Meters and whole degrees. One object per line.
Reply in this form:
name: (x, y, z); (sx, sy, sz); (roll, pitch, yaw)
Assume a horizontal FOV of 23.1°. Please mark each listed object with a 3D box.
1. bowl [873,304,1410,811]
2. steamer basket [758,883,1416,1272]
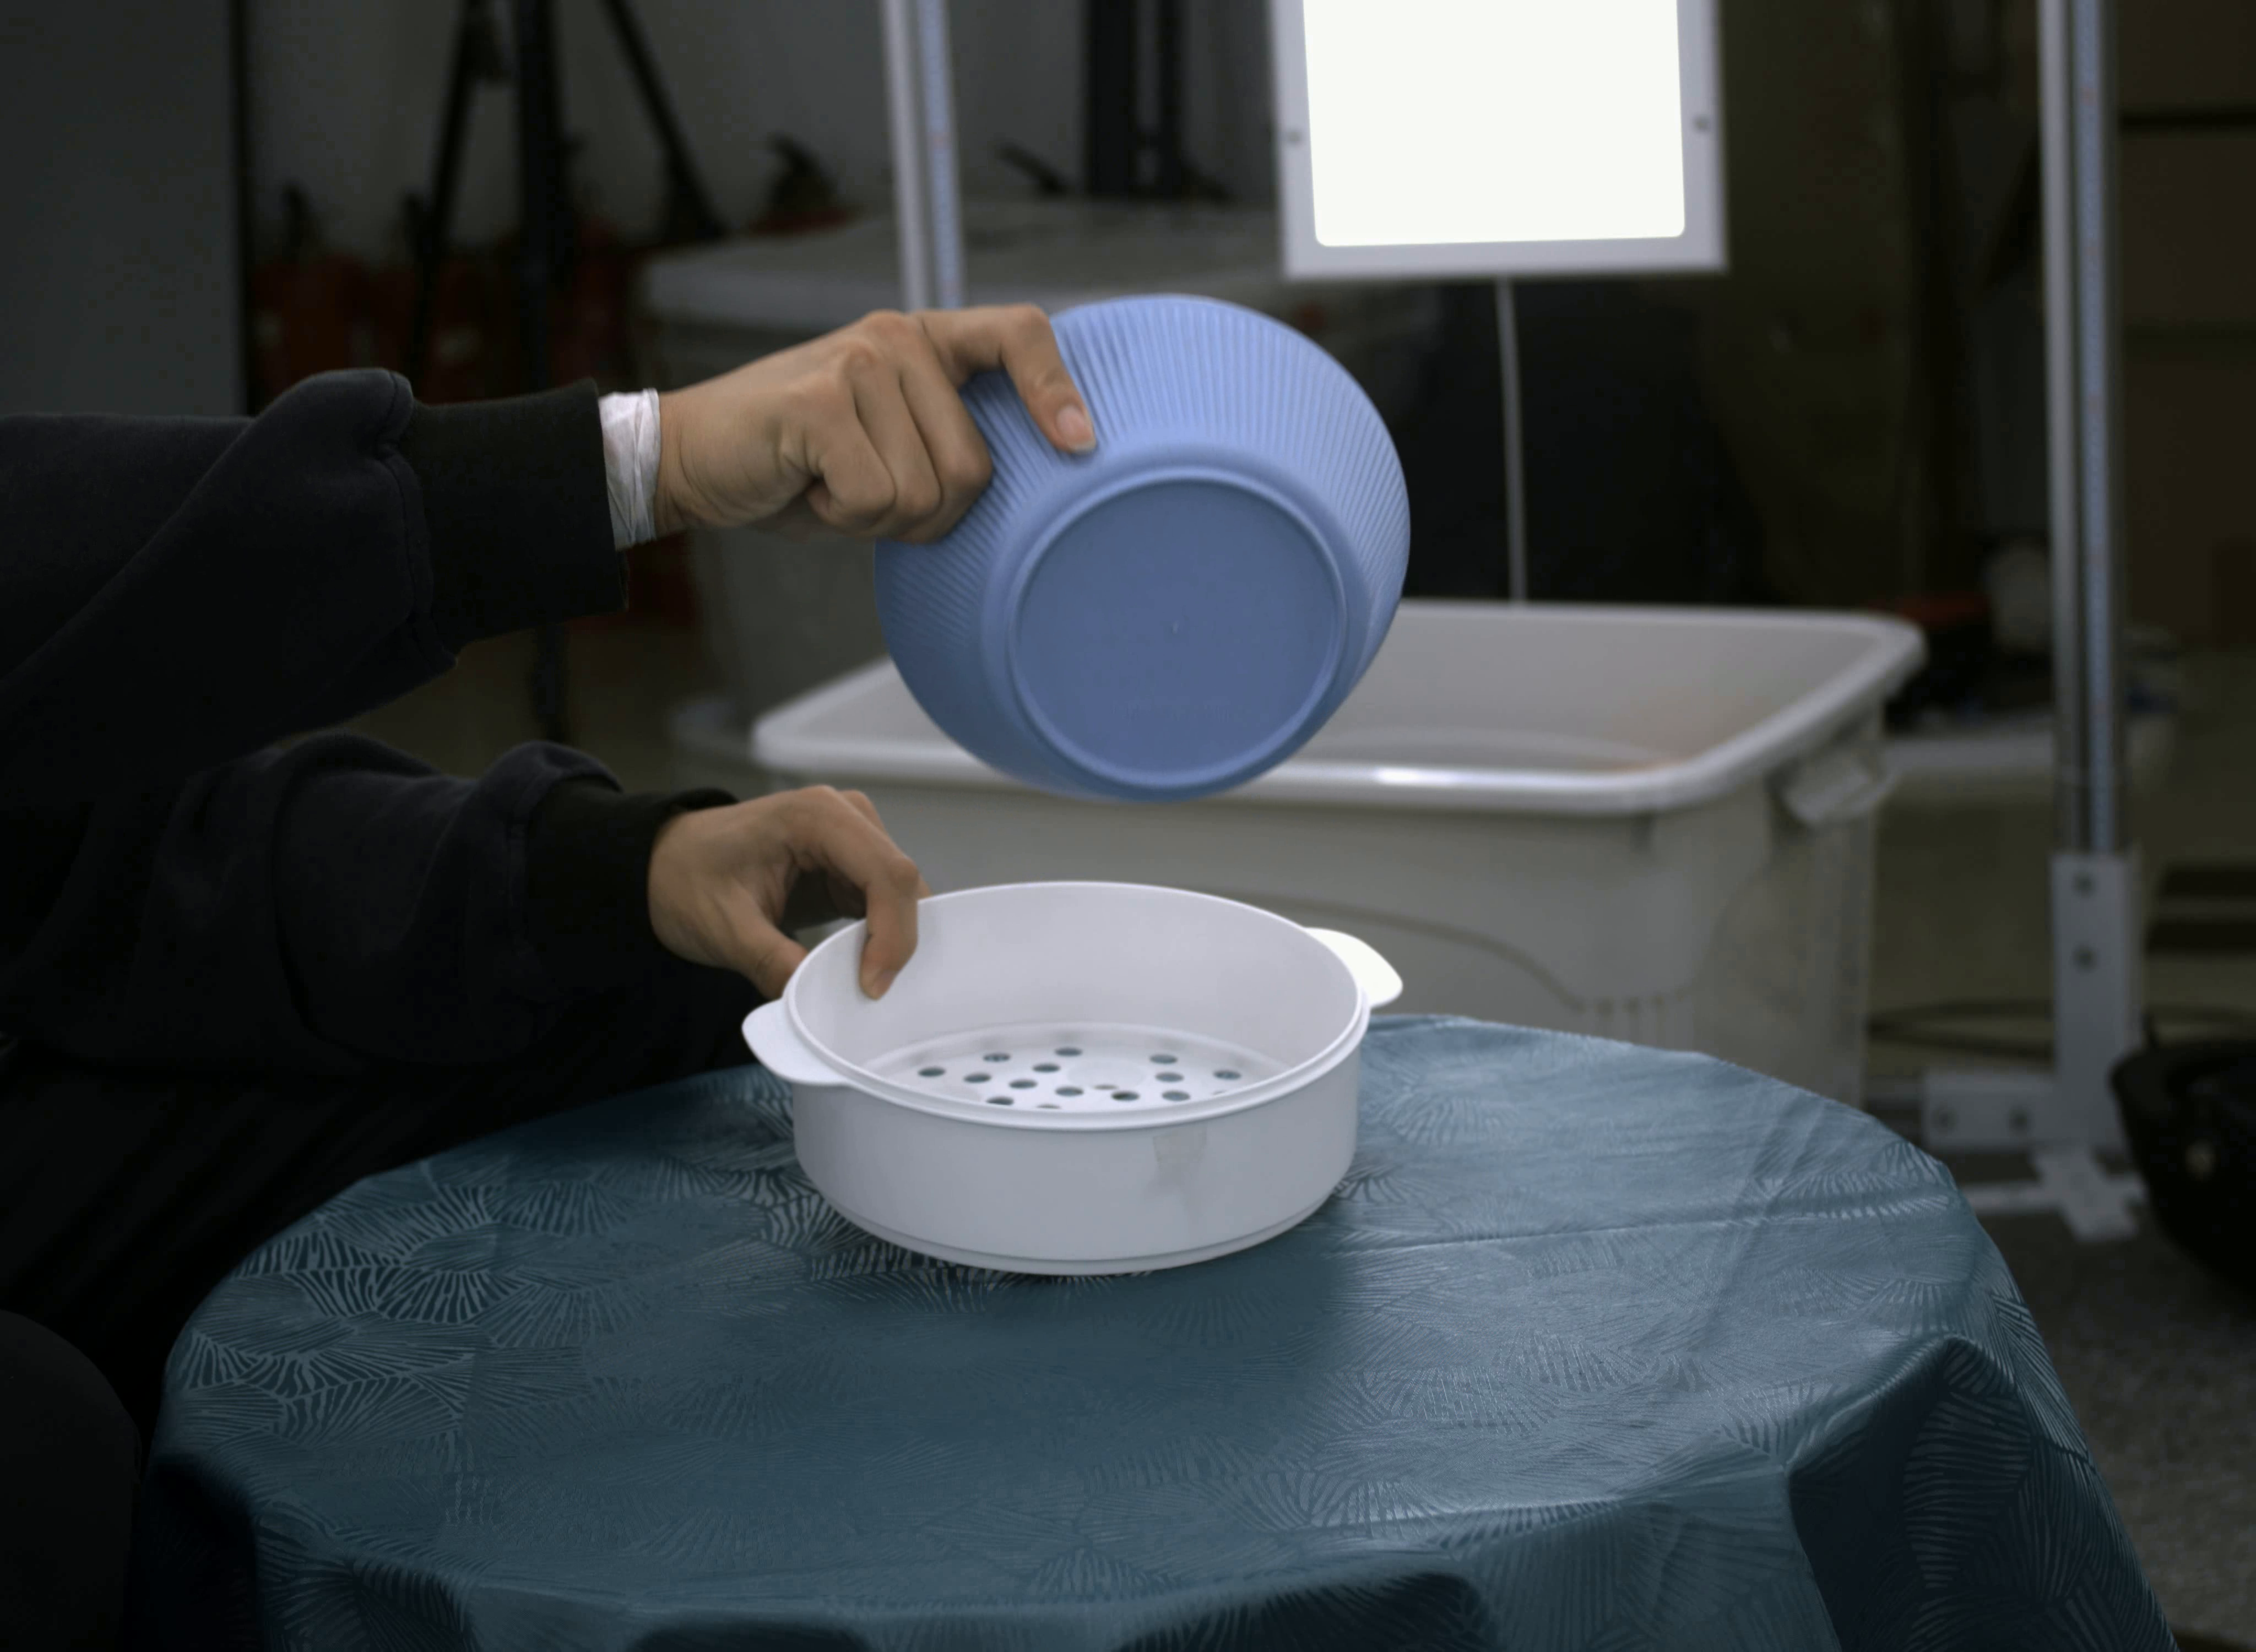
bowl: (0.009, -0.072, 1.747); (0.175, 0.177, 0.070); (-5, 26, -4)
steamer basket: (-0.013, 0.086, 1.886); (0.226, 0.069, 0.204); (-6, 22, -19)
